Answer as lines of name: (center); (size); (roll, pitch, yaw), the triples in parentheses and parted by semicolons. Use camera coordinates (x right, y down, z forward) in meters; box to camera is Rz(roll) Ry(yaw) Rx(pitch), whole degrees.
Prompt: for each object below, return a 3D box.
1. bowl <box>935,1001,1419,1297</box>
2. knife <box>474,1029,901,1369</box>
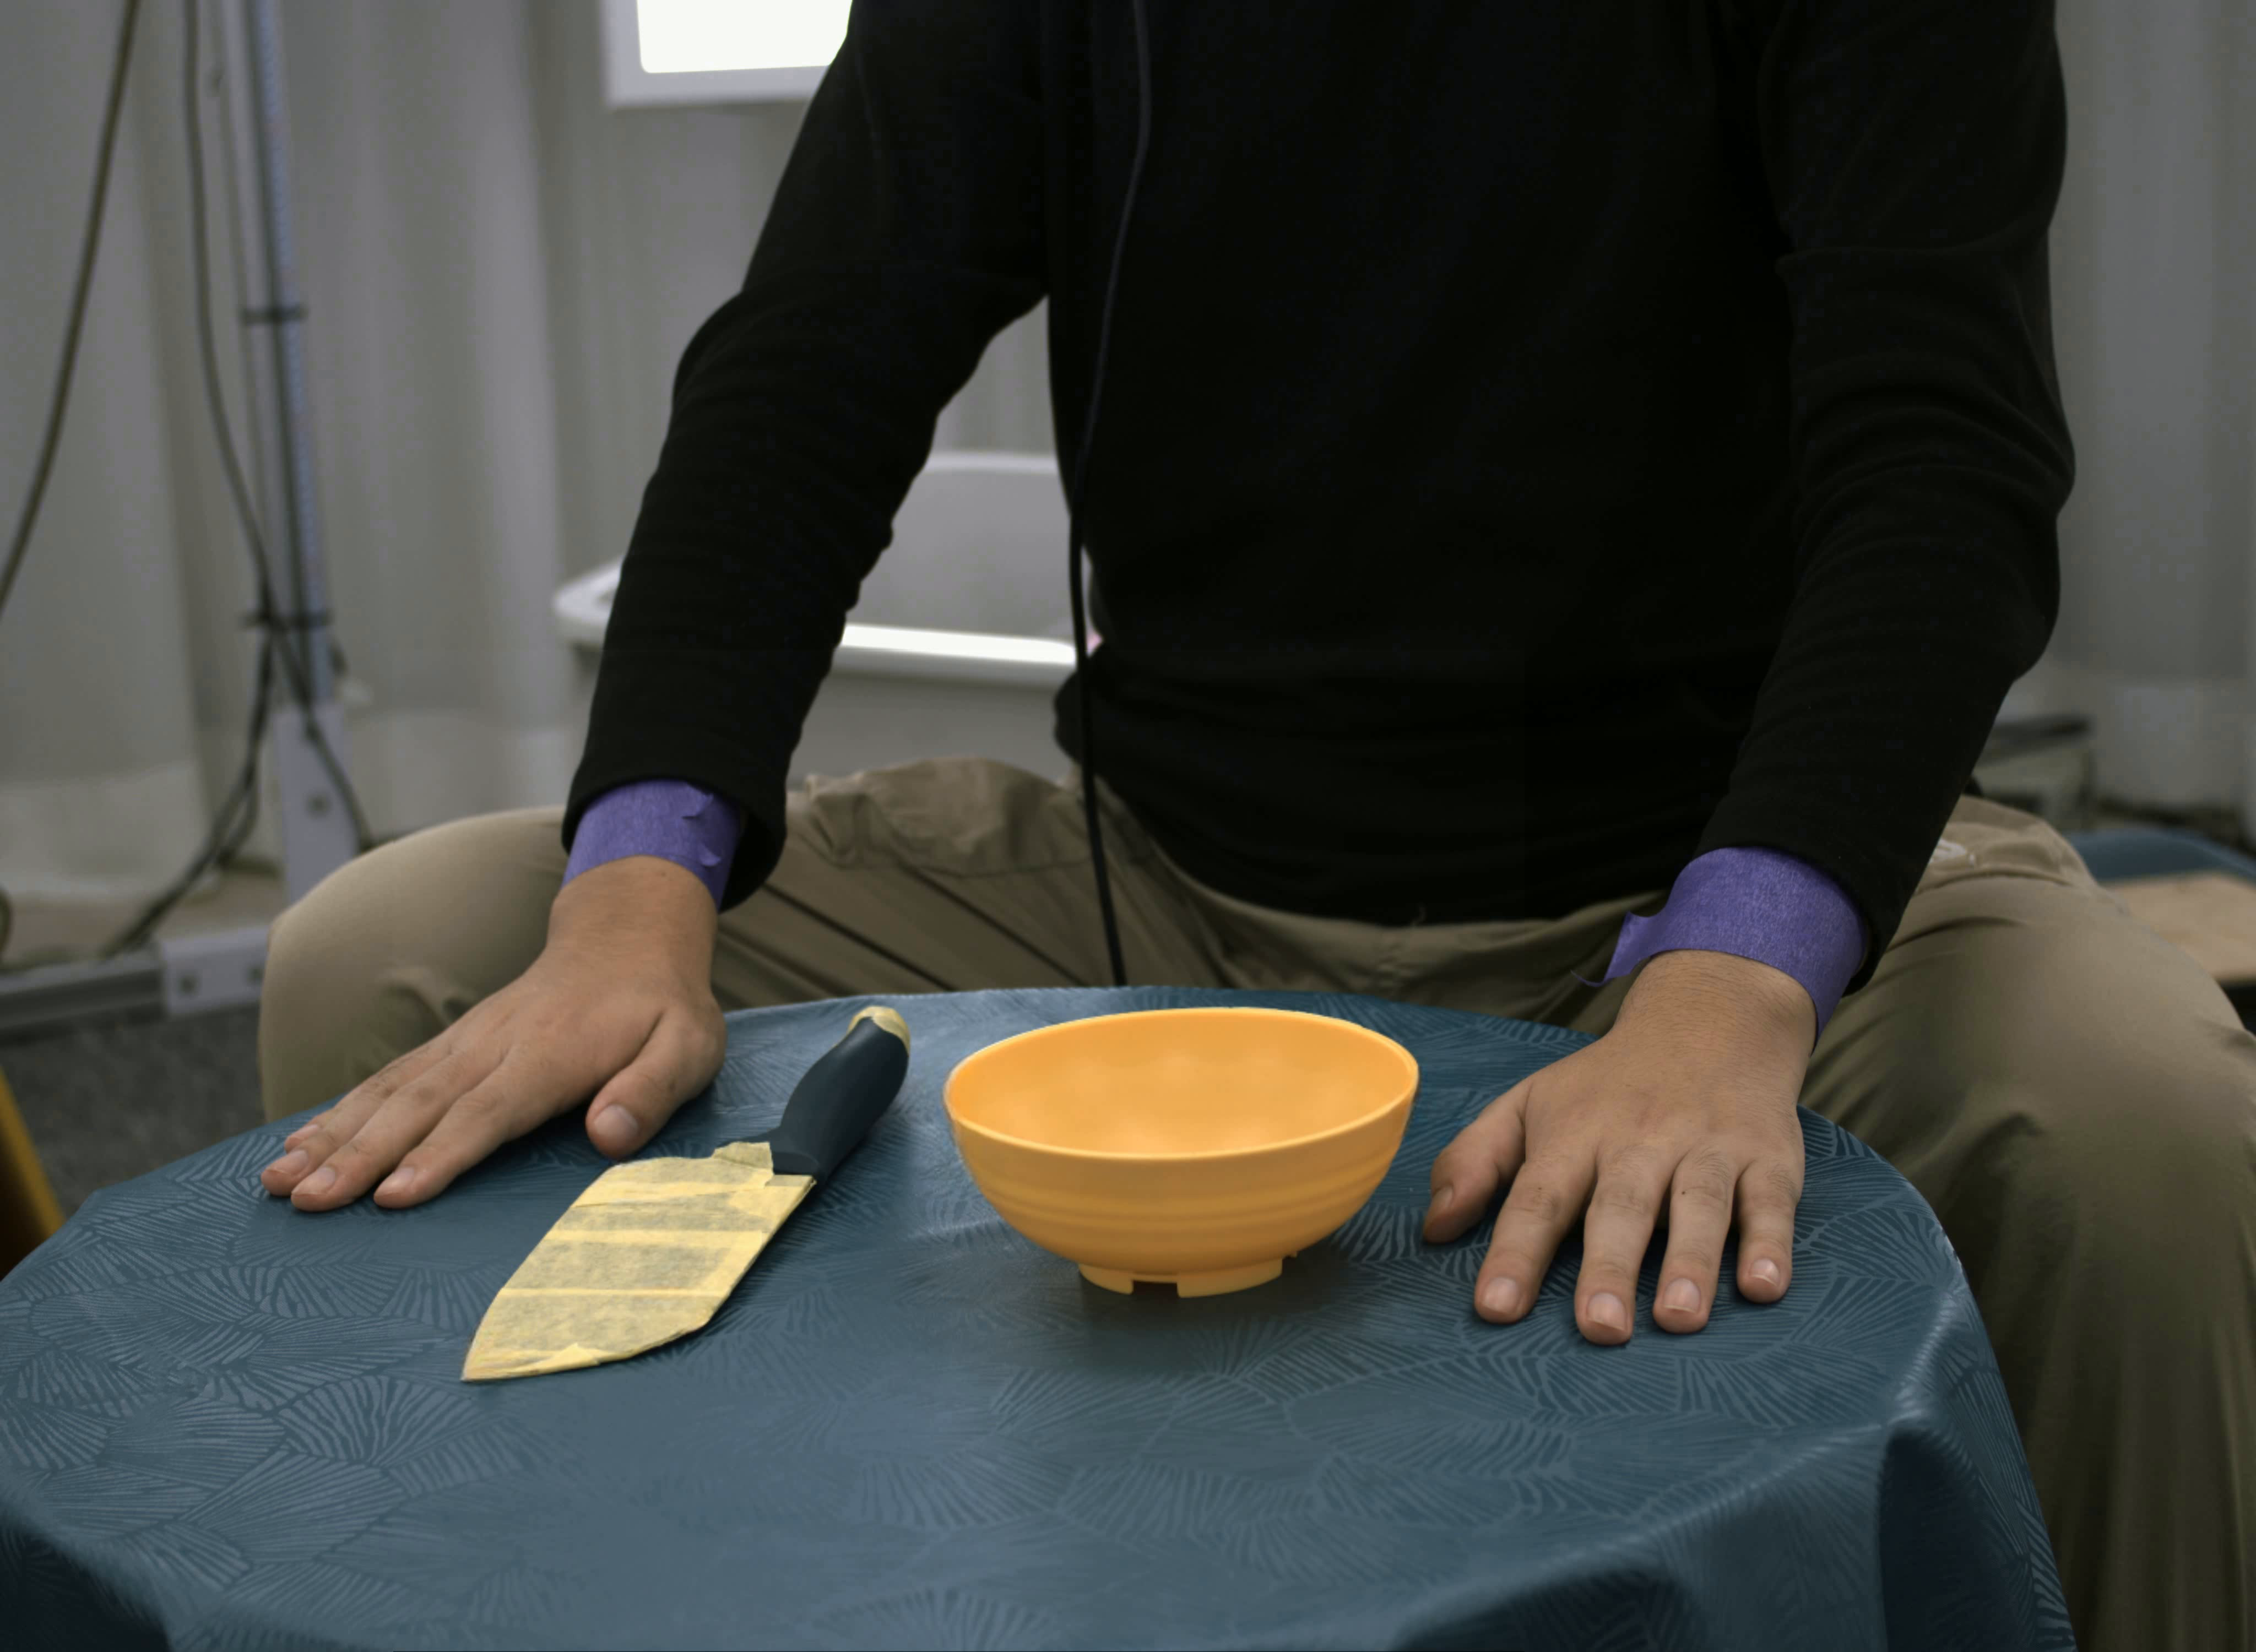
bowl: (0.015, 0.103, 1.643); (0.145, 0.060, 0.146); (-1, 16, 0)
knife: (-0.132, 0.116, 1.708); (0.081, 0.027, 0.291); (3, 17, 16)
